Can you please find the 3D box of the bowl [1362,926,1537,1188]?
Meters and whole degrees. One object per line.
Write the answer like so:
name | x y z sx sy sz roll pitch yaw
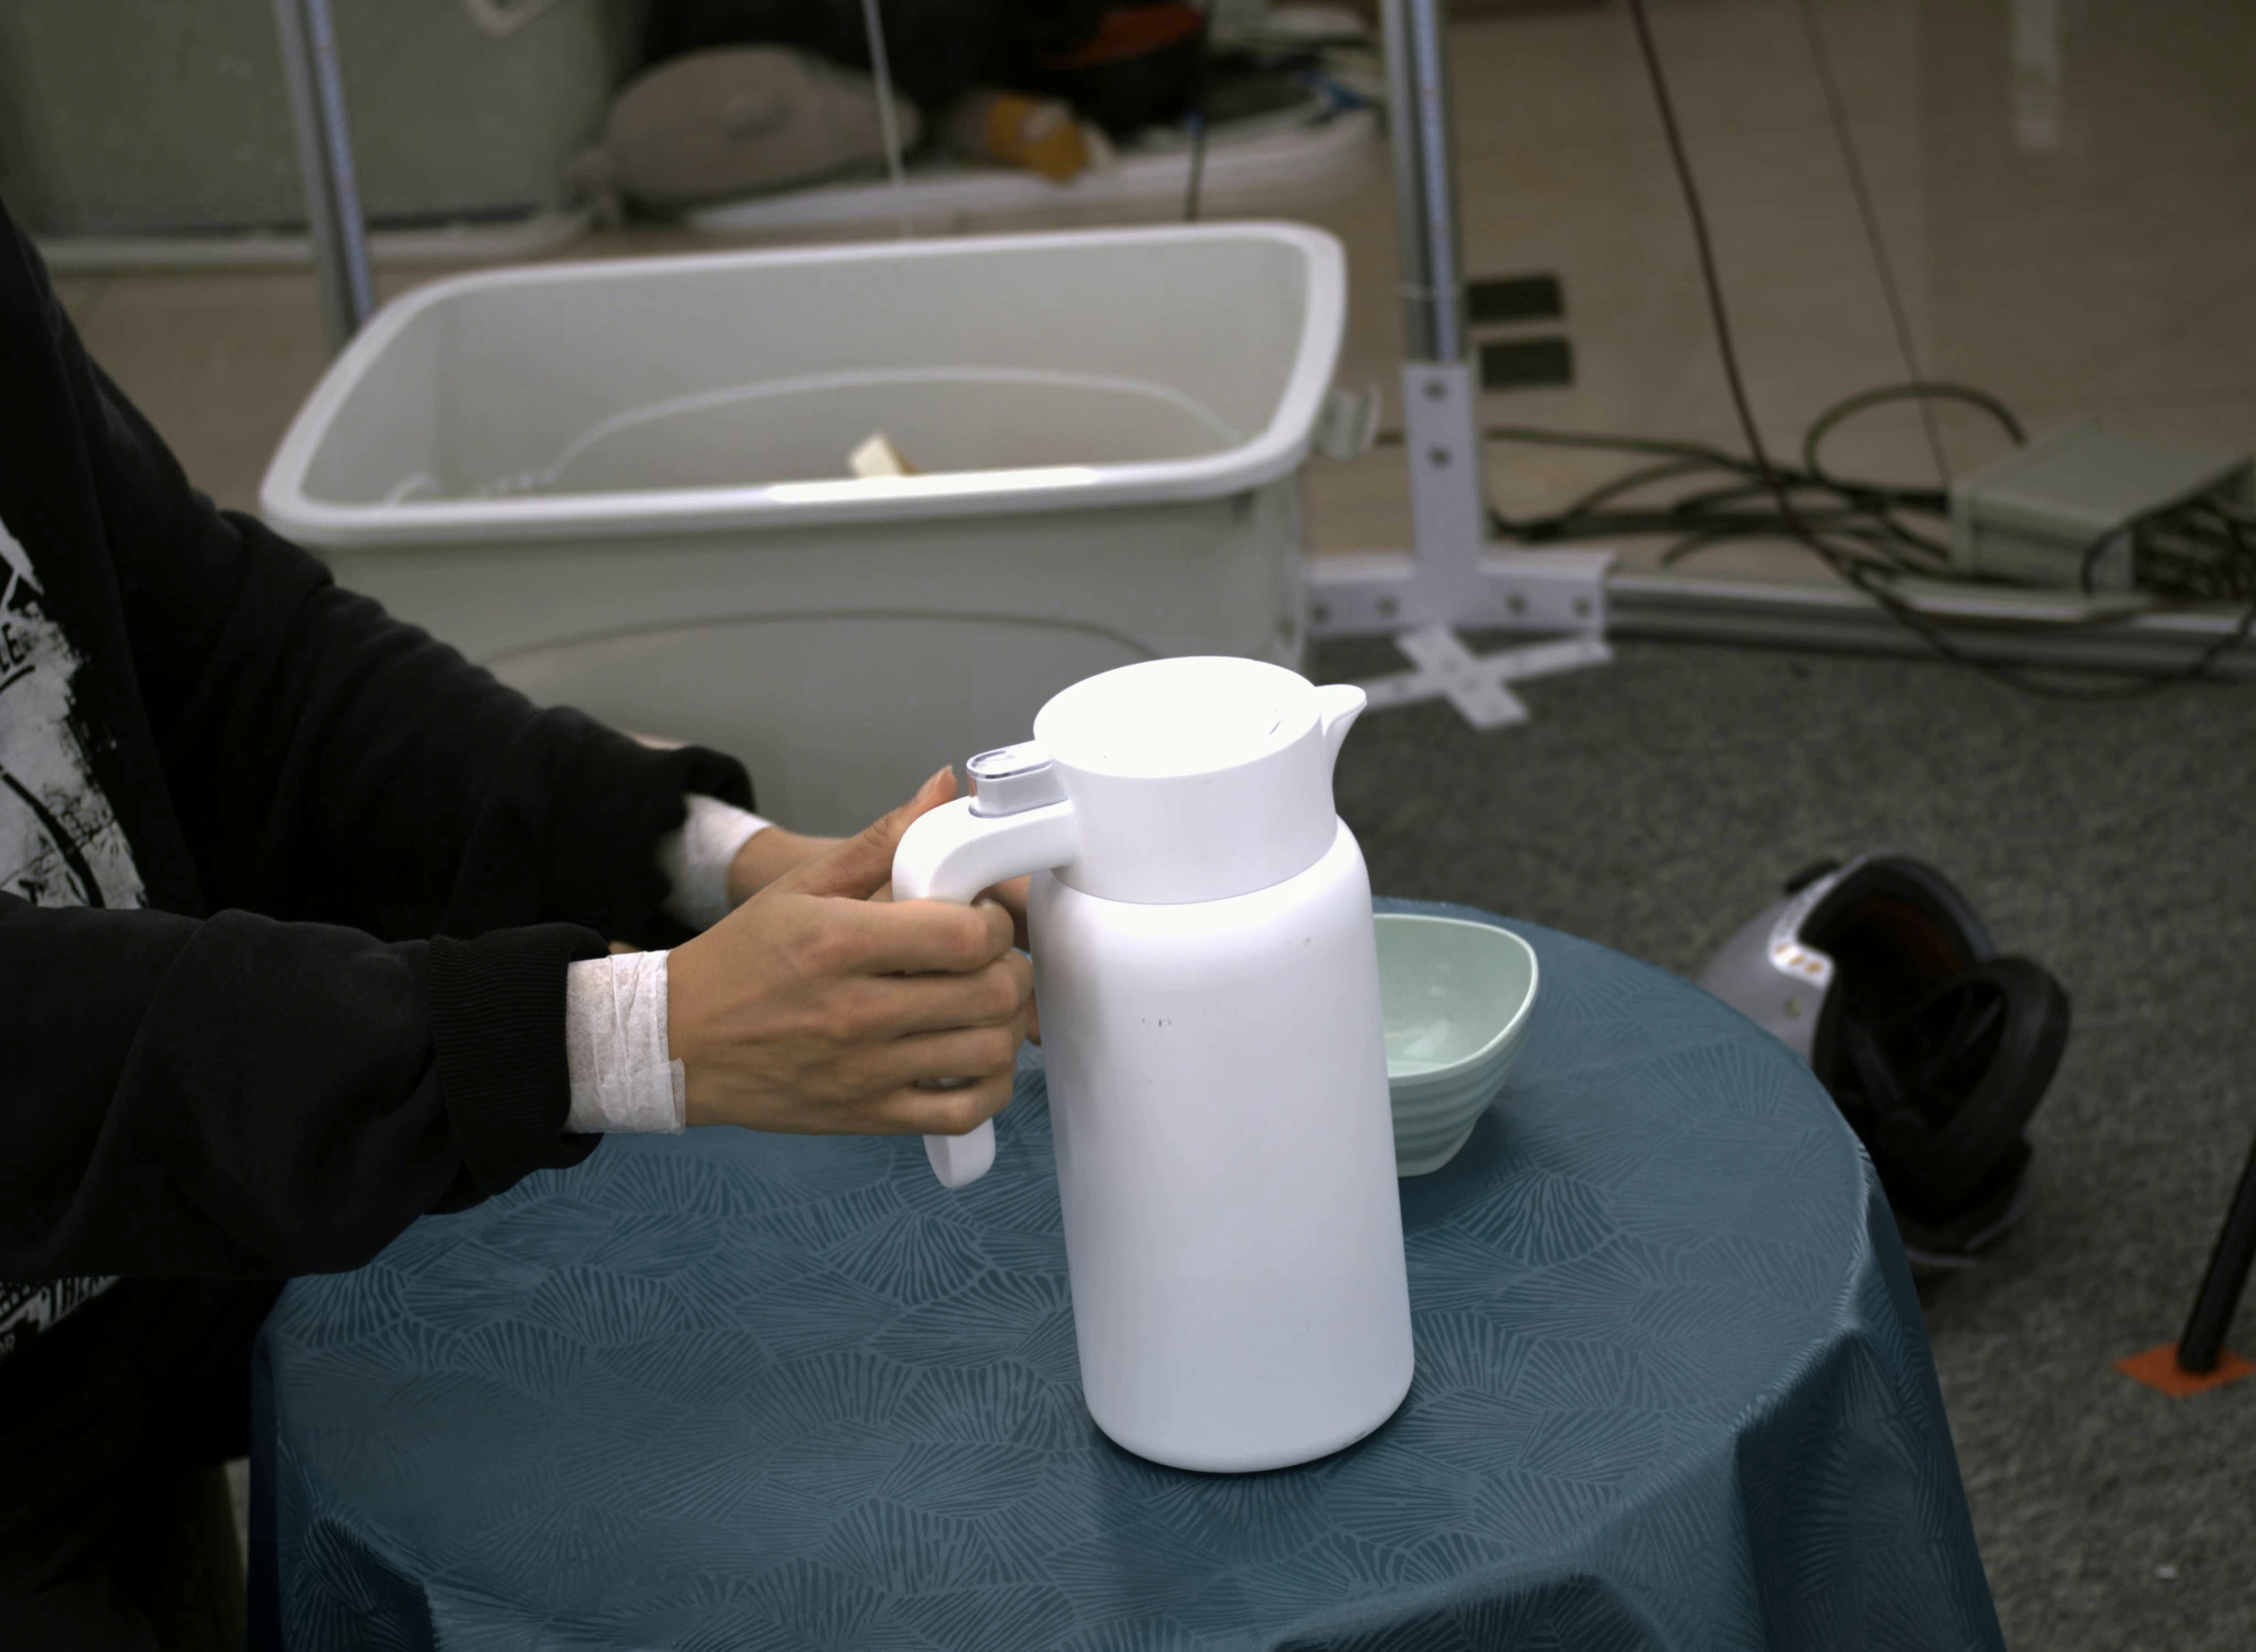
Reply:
bowl | 0.088 0.093 2.164 0.151 0.059 0.149 -6 25 3

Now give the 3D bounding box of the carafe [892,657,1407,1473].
carafe | 0.013 0.087 1.938 0.172 0.273 0.122 -16 29 -19
